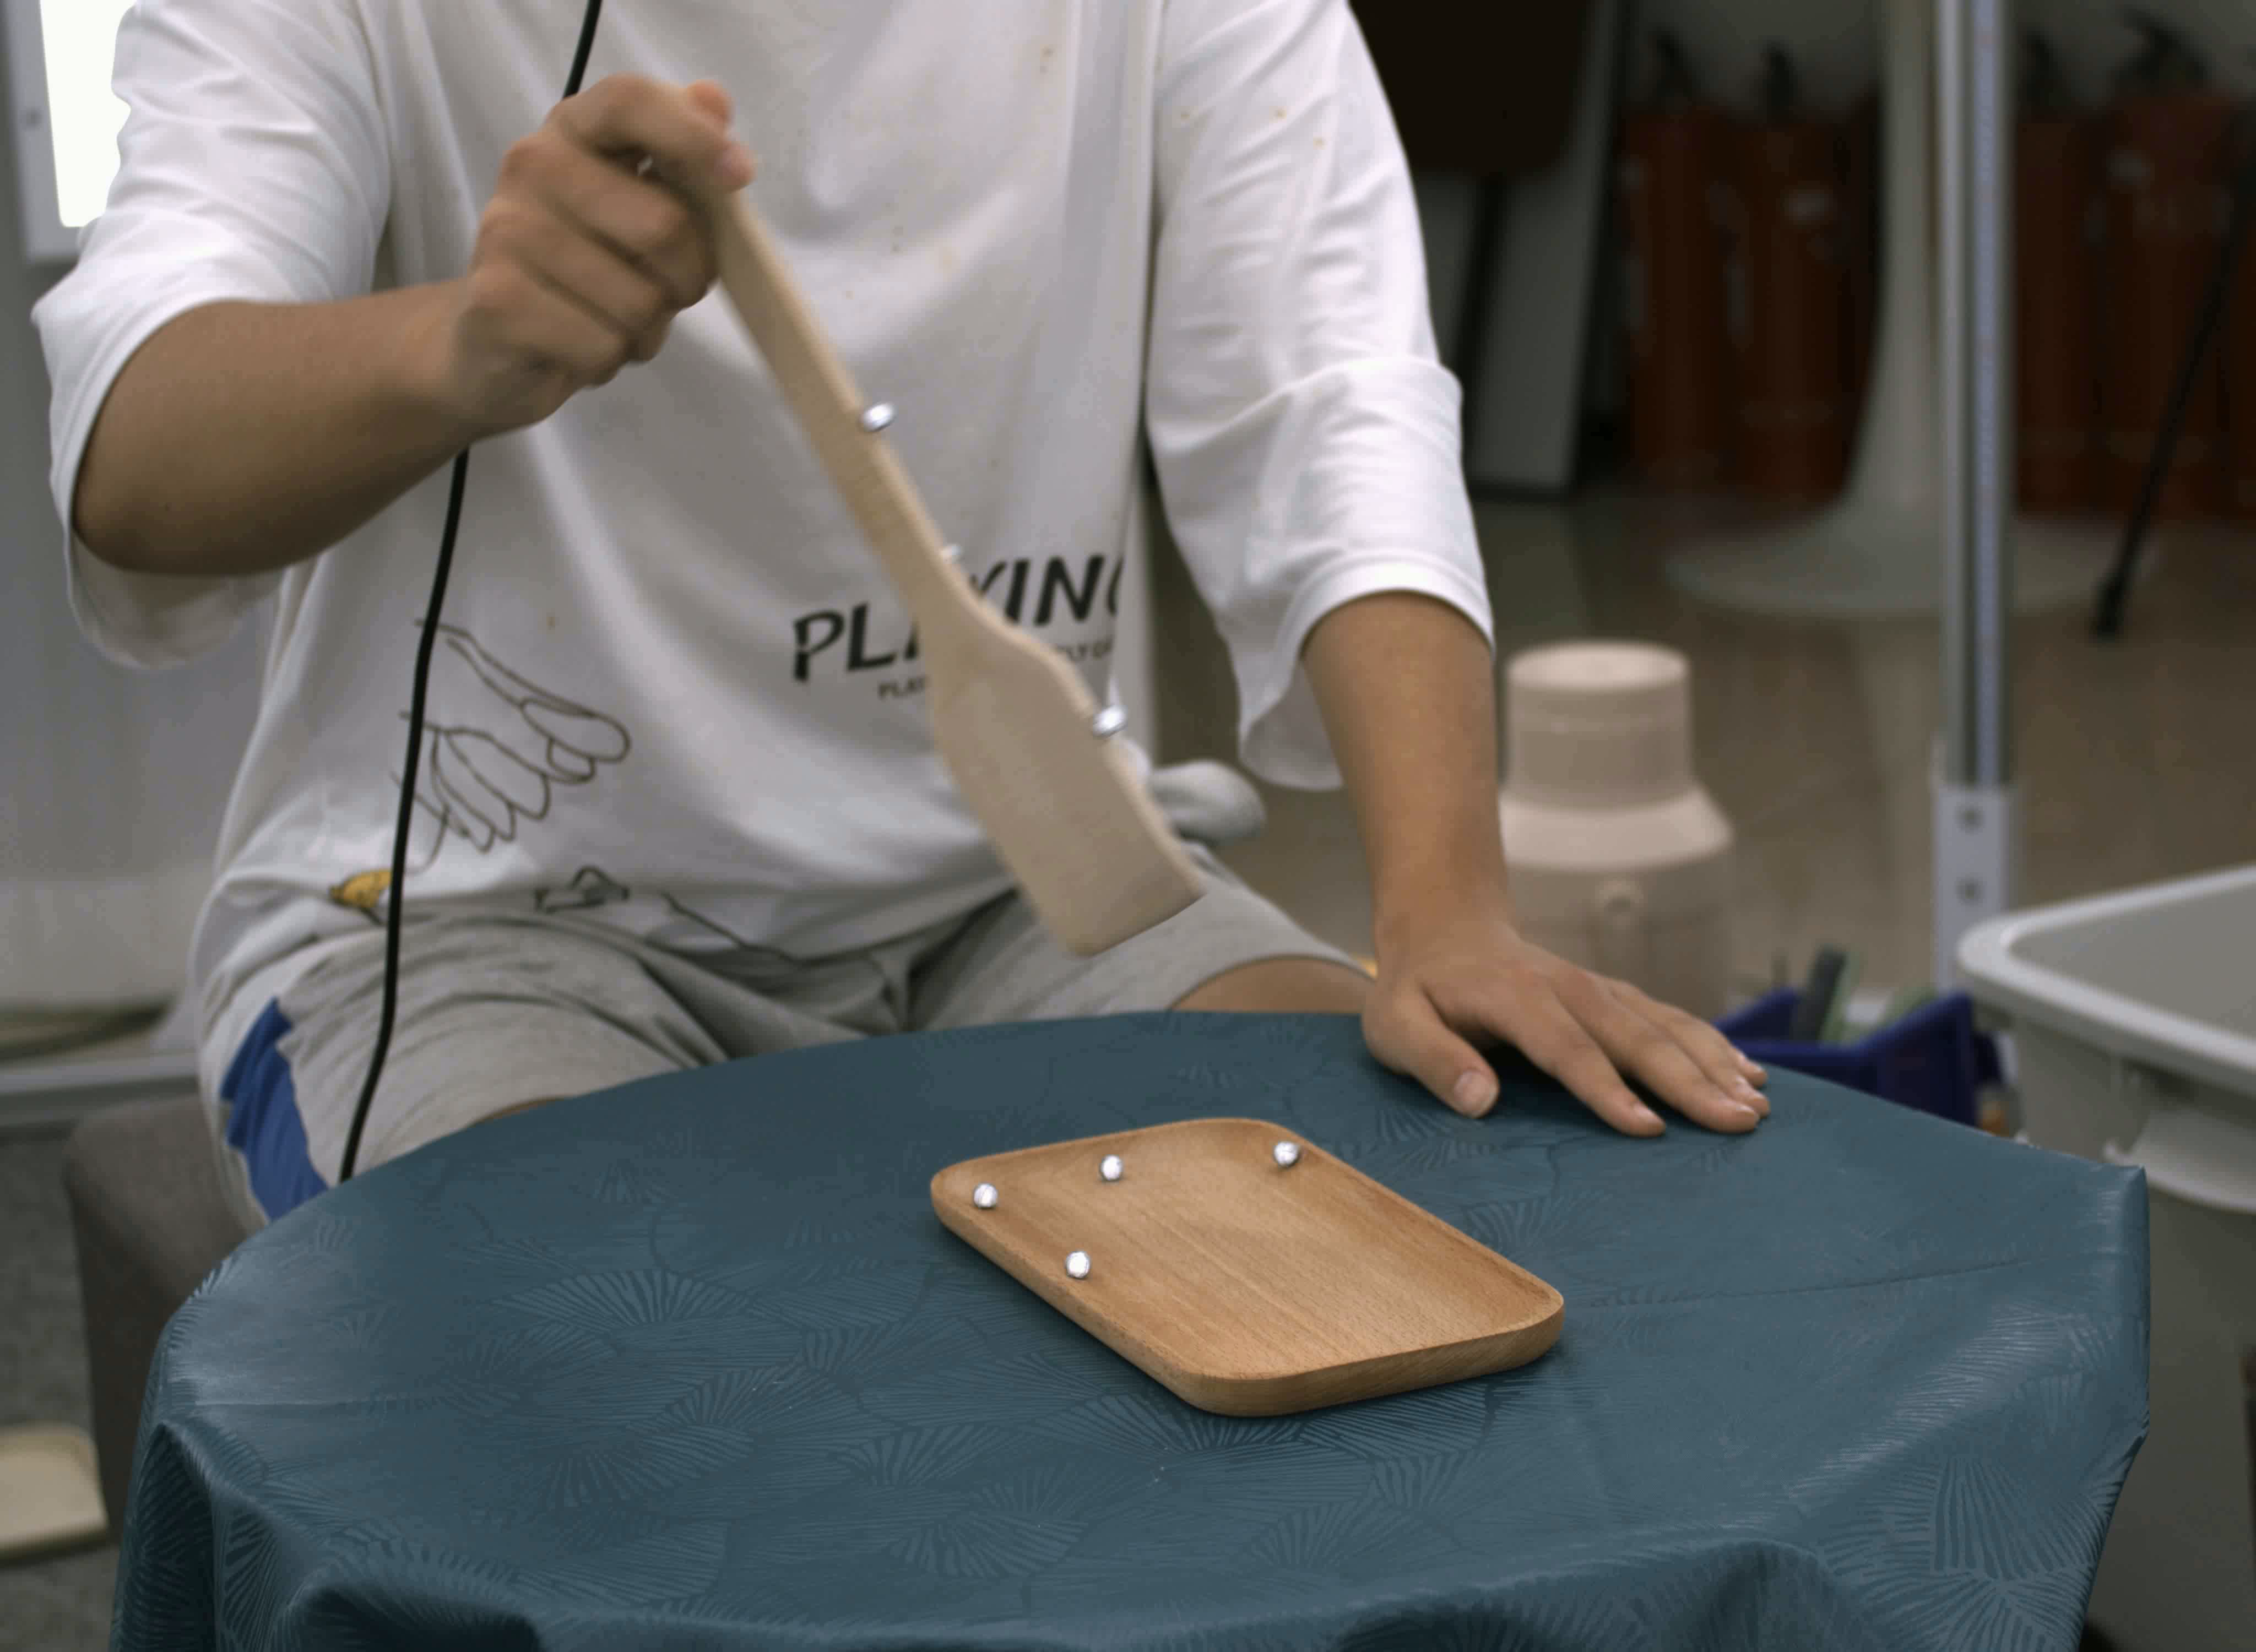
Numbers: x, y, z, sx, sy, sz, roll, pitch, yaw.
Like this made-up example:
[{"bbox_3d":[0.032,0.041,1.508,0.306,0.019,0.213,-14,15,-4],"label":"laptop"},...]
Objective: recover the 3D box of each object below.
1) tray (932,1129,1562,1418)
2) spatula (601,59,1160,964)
[{"bbox_3d":[0.033,0.136,1.671,0.128,0.023,0.253,-11,15,-19],"label":"tray"},{"bbox_3d":[-0.079,-0.096,1.599,0.010,0.295,0.073,-27,-3,-39],"label":"spatula"}]
